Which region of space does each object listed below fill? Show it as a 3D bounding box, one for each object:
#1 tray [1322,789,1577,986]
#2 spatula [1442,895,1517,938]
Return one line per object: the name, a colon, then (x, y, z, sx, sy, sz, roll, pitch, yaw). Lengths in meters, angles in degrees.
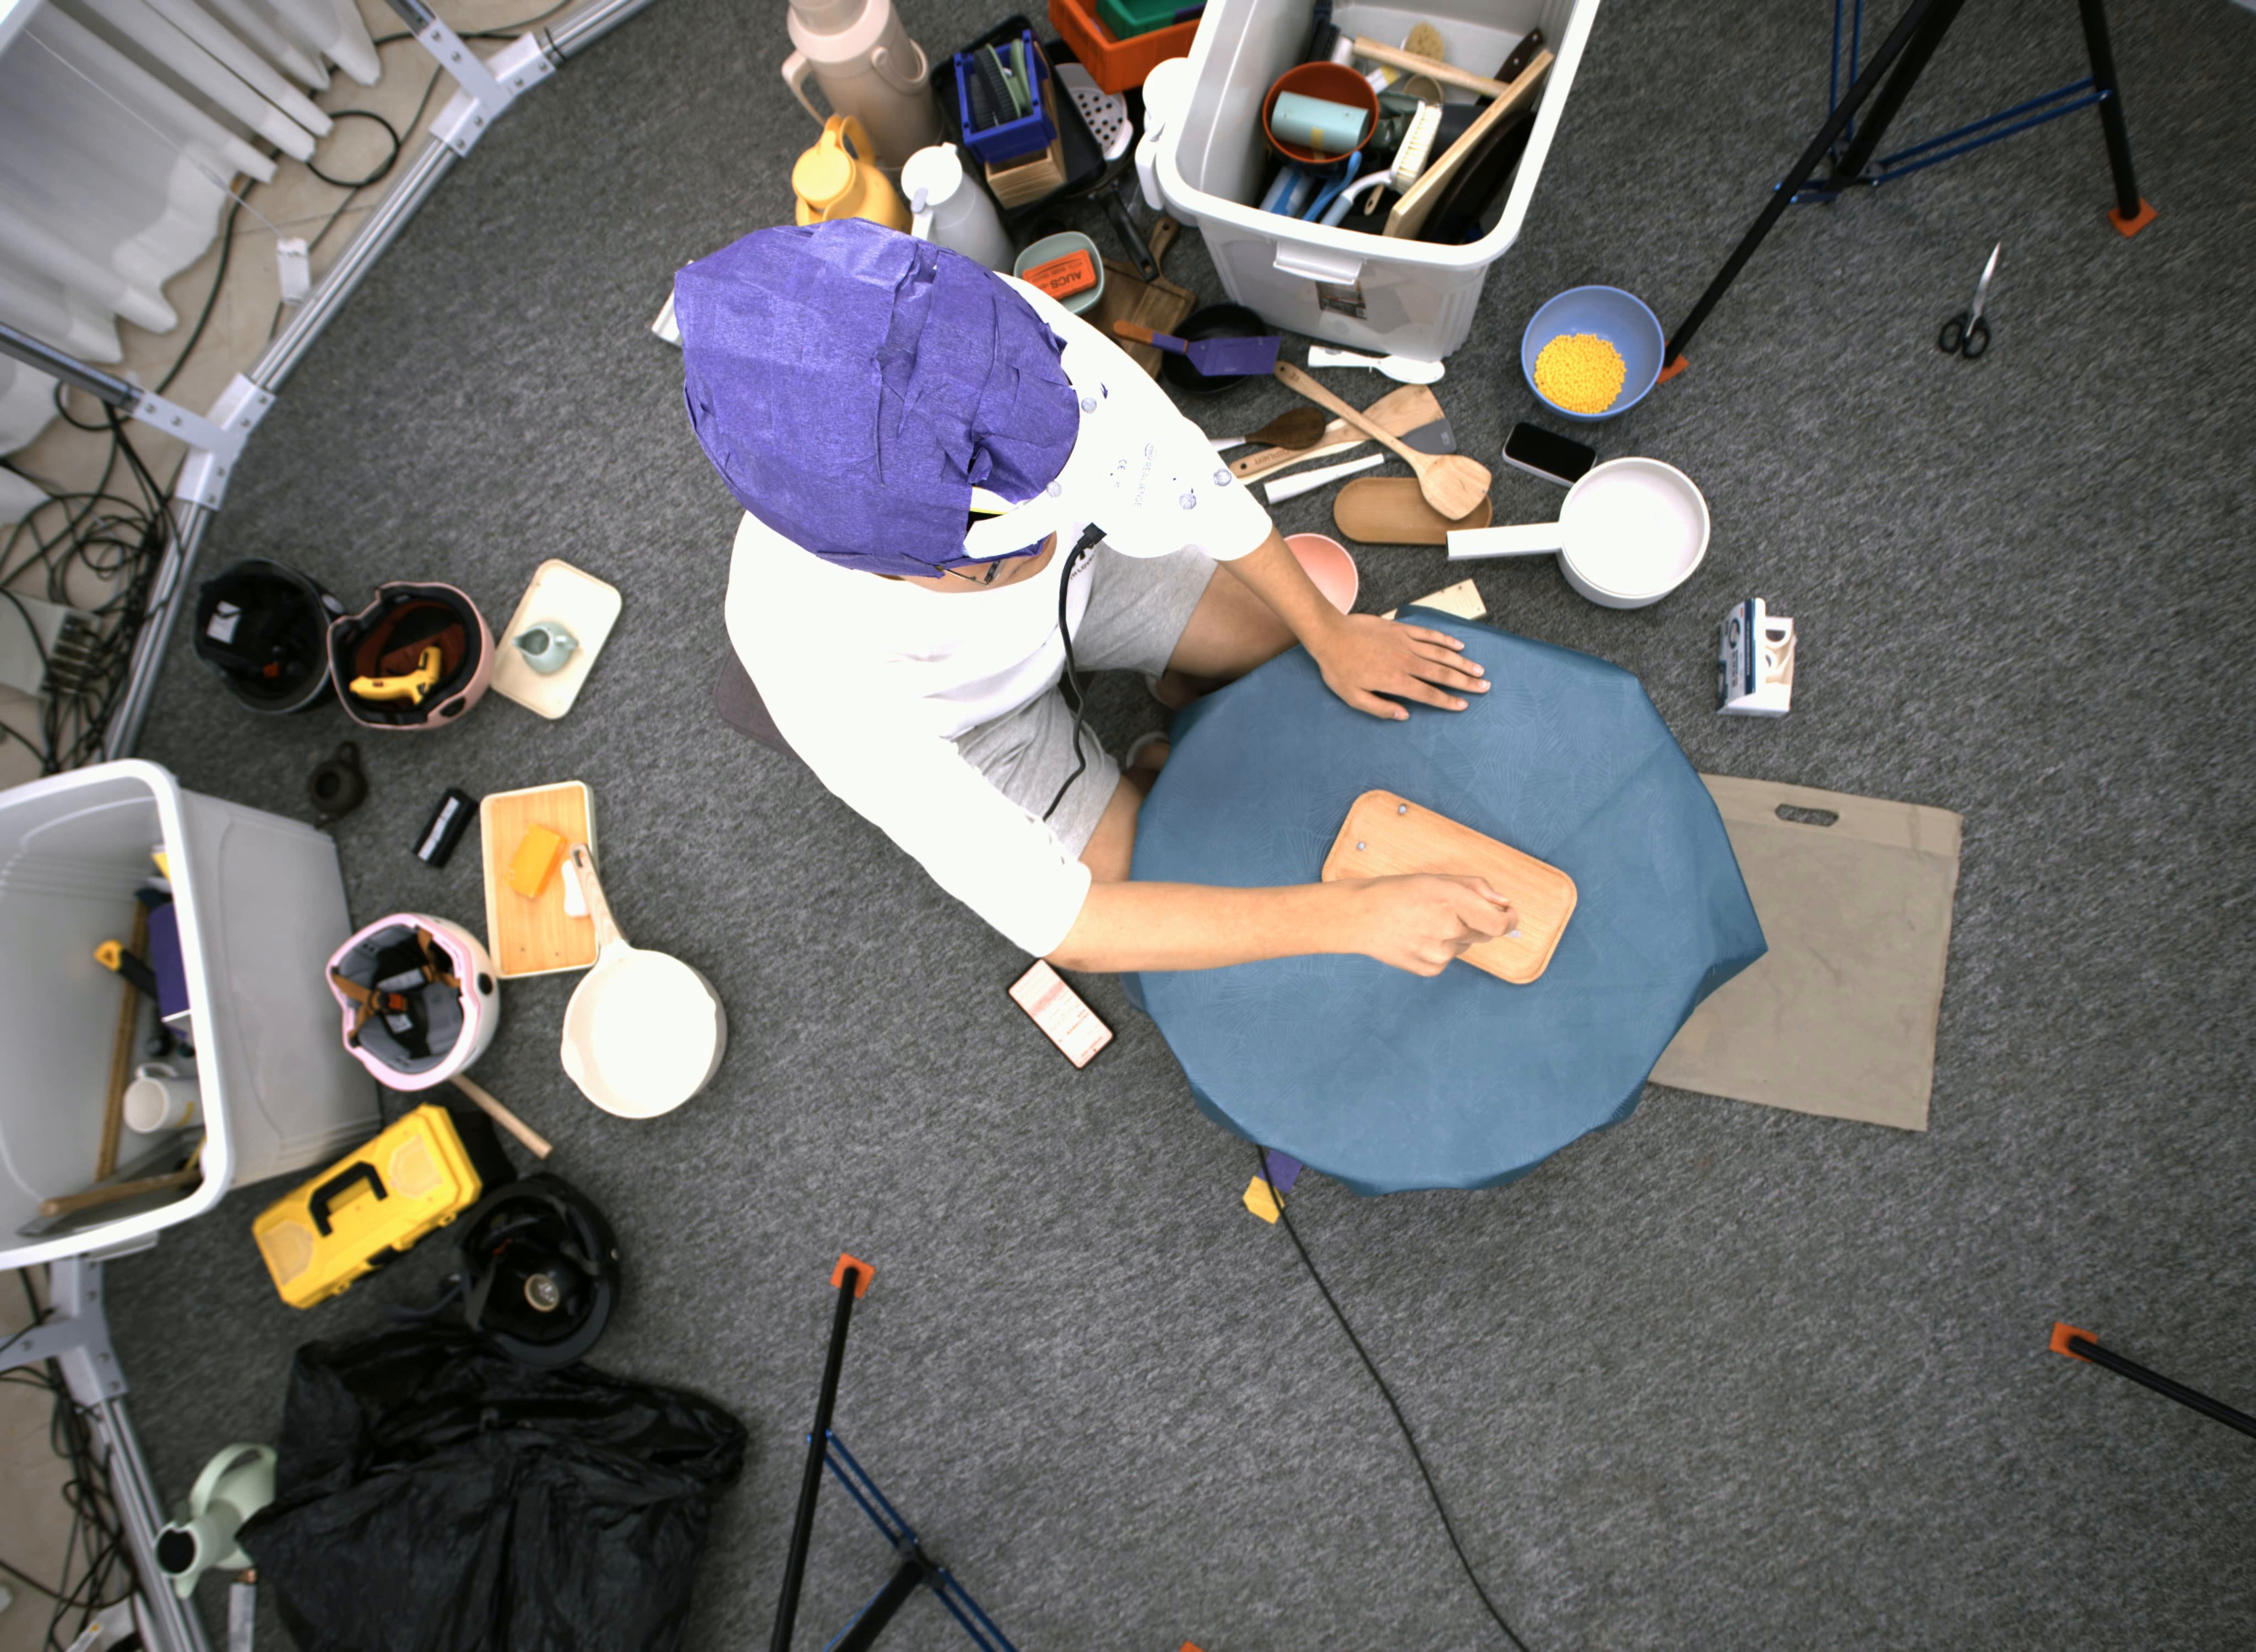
tray: (0.334, 0.061, 1.440, 0.250, 0.023, 0.131, 27, 94, 11)
spatula: (0.311, 0.078, 1.207, 0.072, 0.294, 0.010, 14, 86, 14)
